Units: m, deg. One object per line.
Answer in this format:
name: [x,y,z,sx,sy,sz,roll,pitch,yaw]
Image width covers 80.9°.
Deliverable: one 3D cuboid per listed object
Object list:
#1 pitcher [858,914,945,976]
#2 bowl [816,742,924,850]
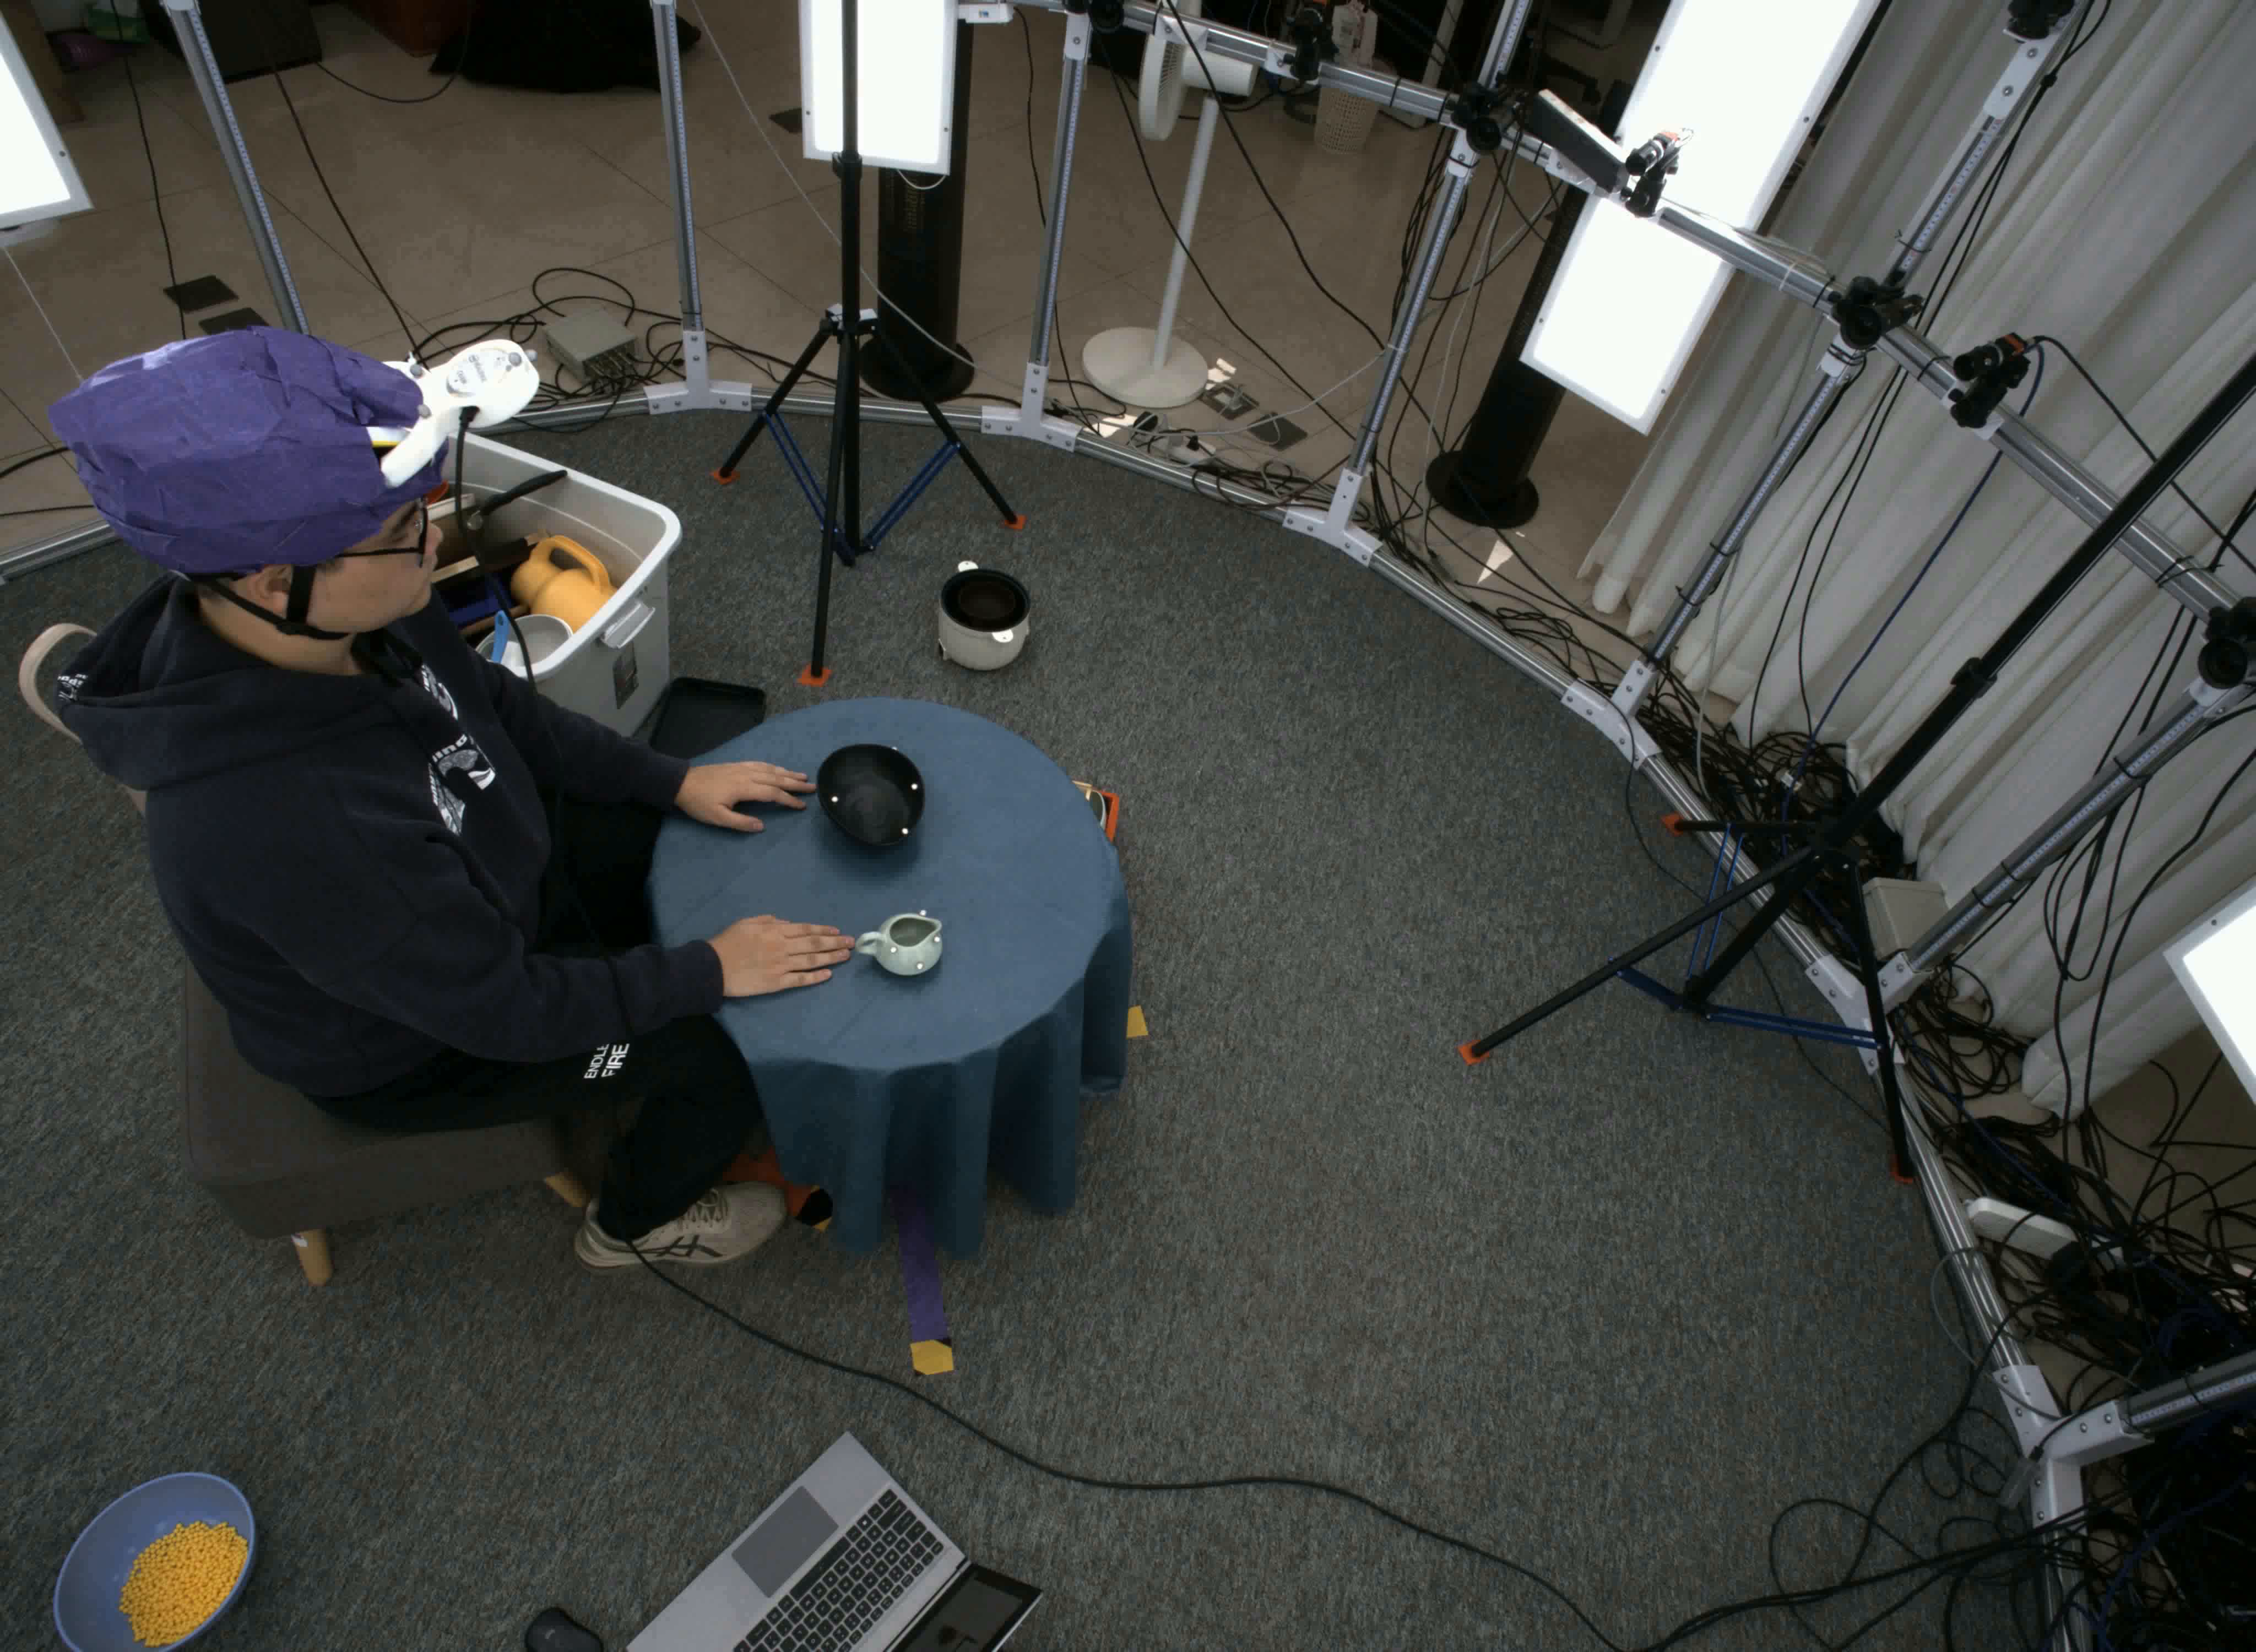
pitcher: [-0.281,0.145,1.612,0.108,0.062,0.084,-12,56,-19]
bowl: [-0.340,-0.032,1.725,0.138,0.068,0.166,-19,61,-24]
